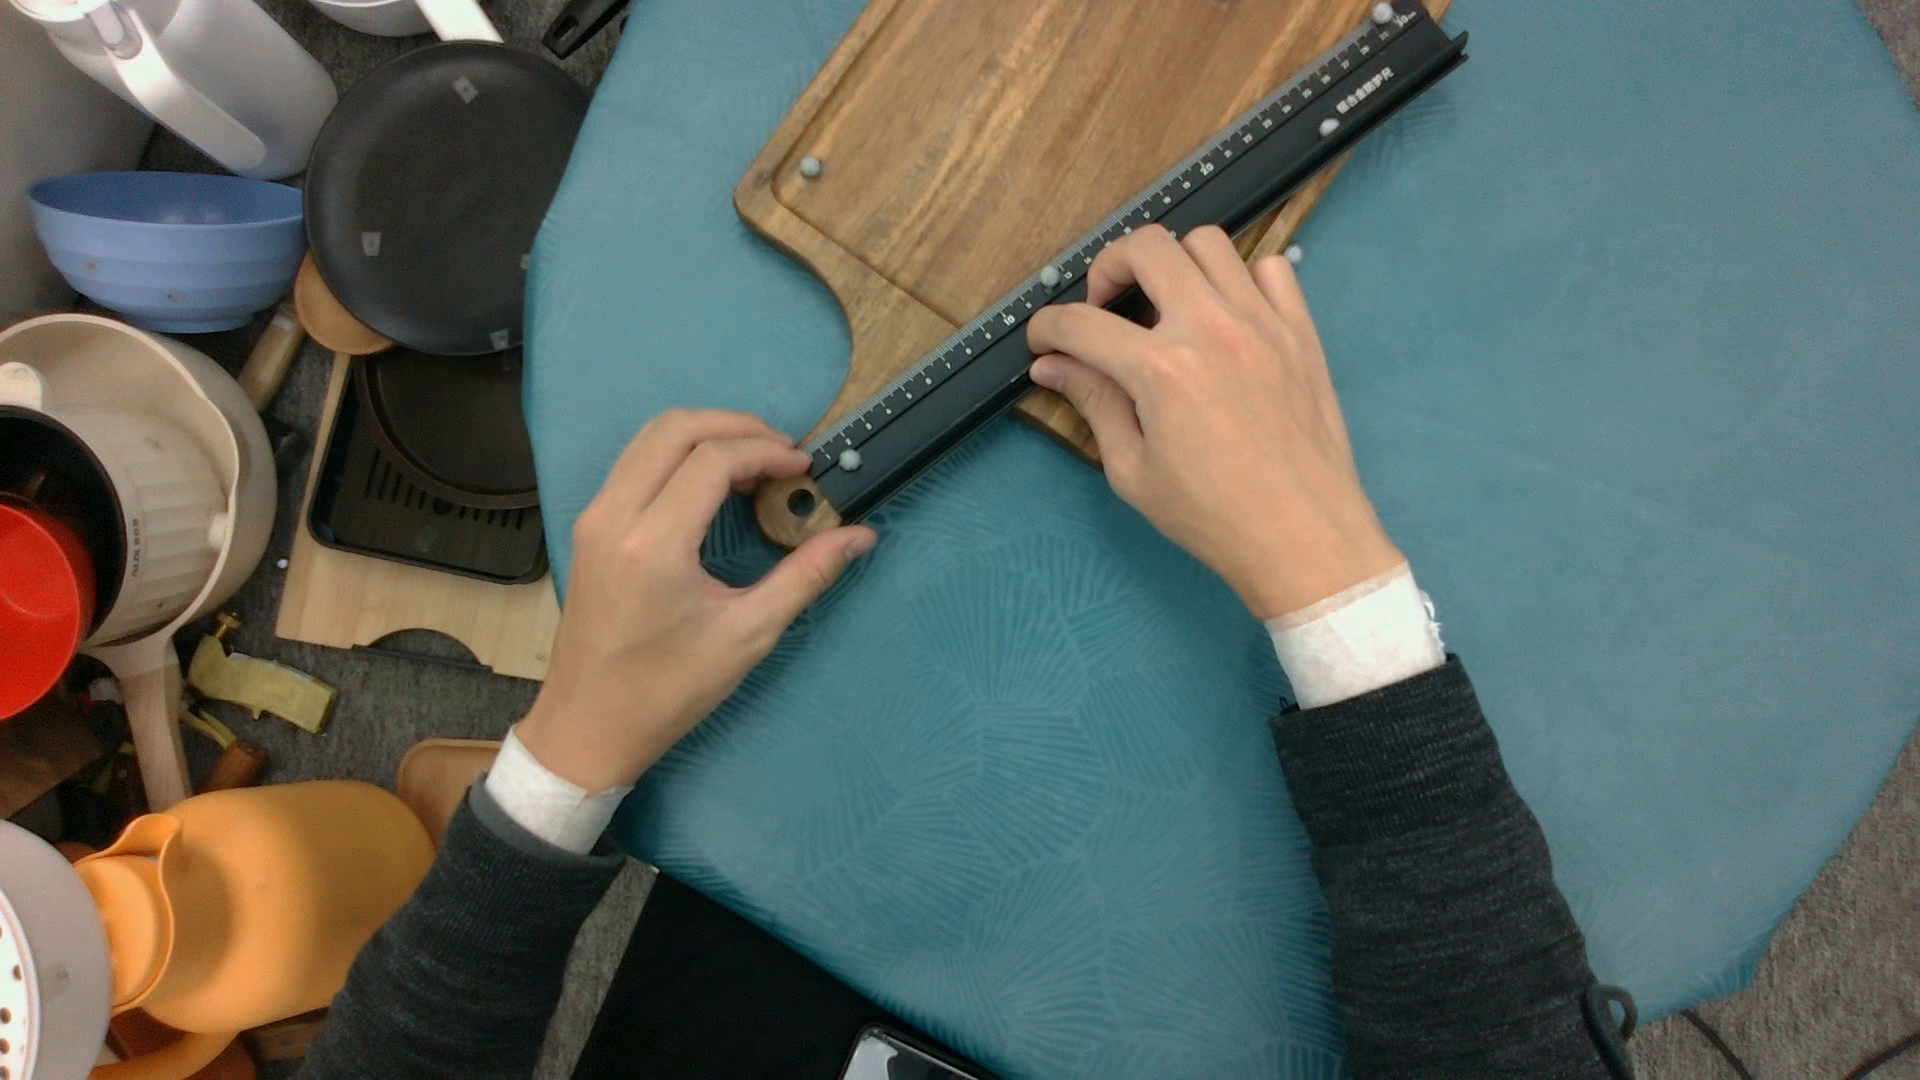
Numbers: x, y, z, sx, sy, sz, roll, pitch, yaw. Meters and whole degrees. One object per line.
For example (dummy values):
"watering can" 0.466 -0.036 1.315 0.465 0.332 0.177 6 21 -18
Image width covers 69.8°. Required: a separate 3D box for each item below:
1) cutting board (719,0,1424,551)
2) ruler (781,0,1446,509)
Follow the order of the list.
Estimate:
"cutting board" 0.022 -0.145 0.564 0.201 0.023 0.352 34 85 3
"ruler" 0.063 -0.121 0.545 0.313 0.017 0.039 -37 83 -4
